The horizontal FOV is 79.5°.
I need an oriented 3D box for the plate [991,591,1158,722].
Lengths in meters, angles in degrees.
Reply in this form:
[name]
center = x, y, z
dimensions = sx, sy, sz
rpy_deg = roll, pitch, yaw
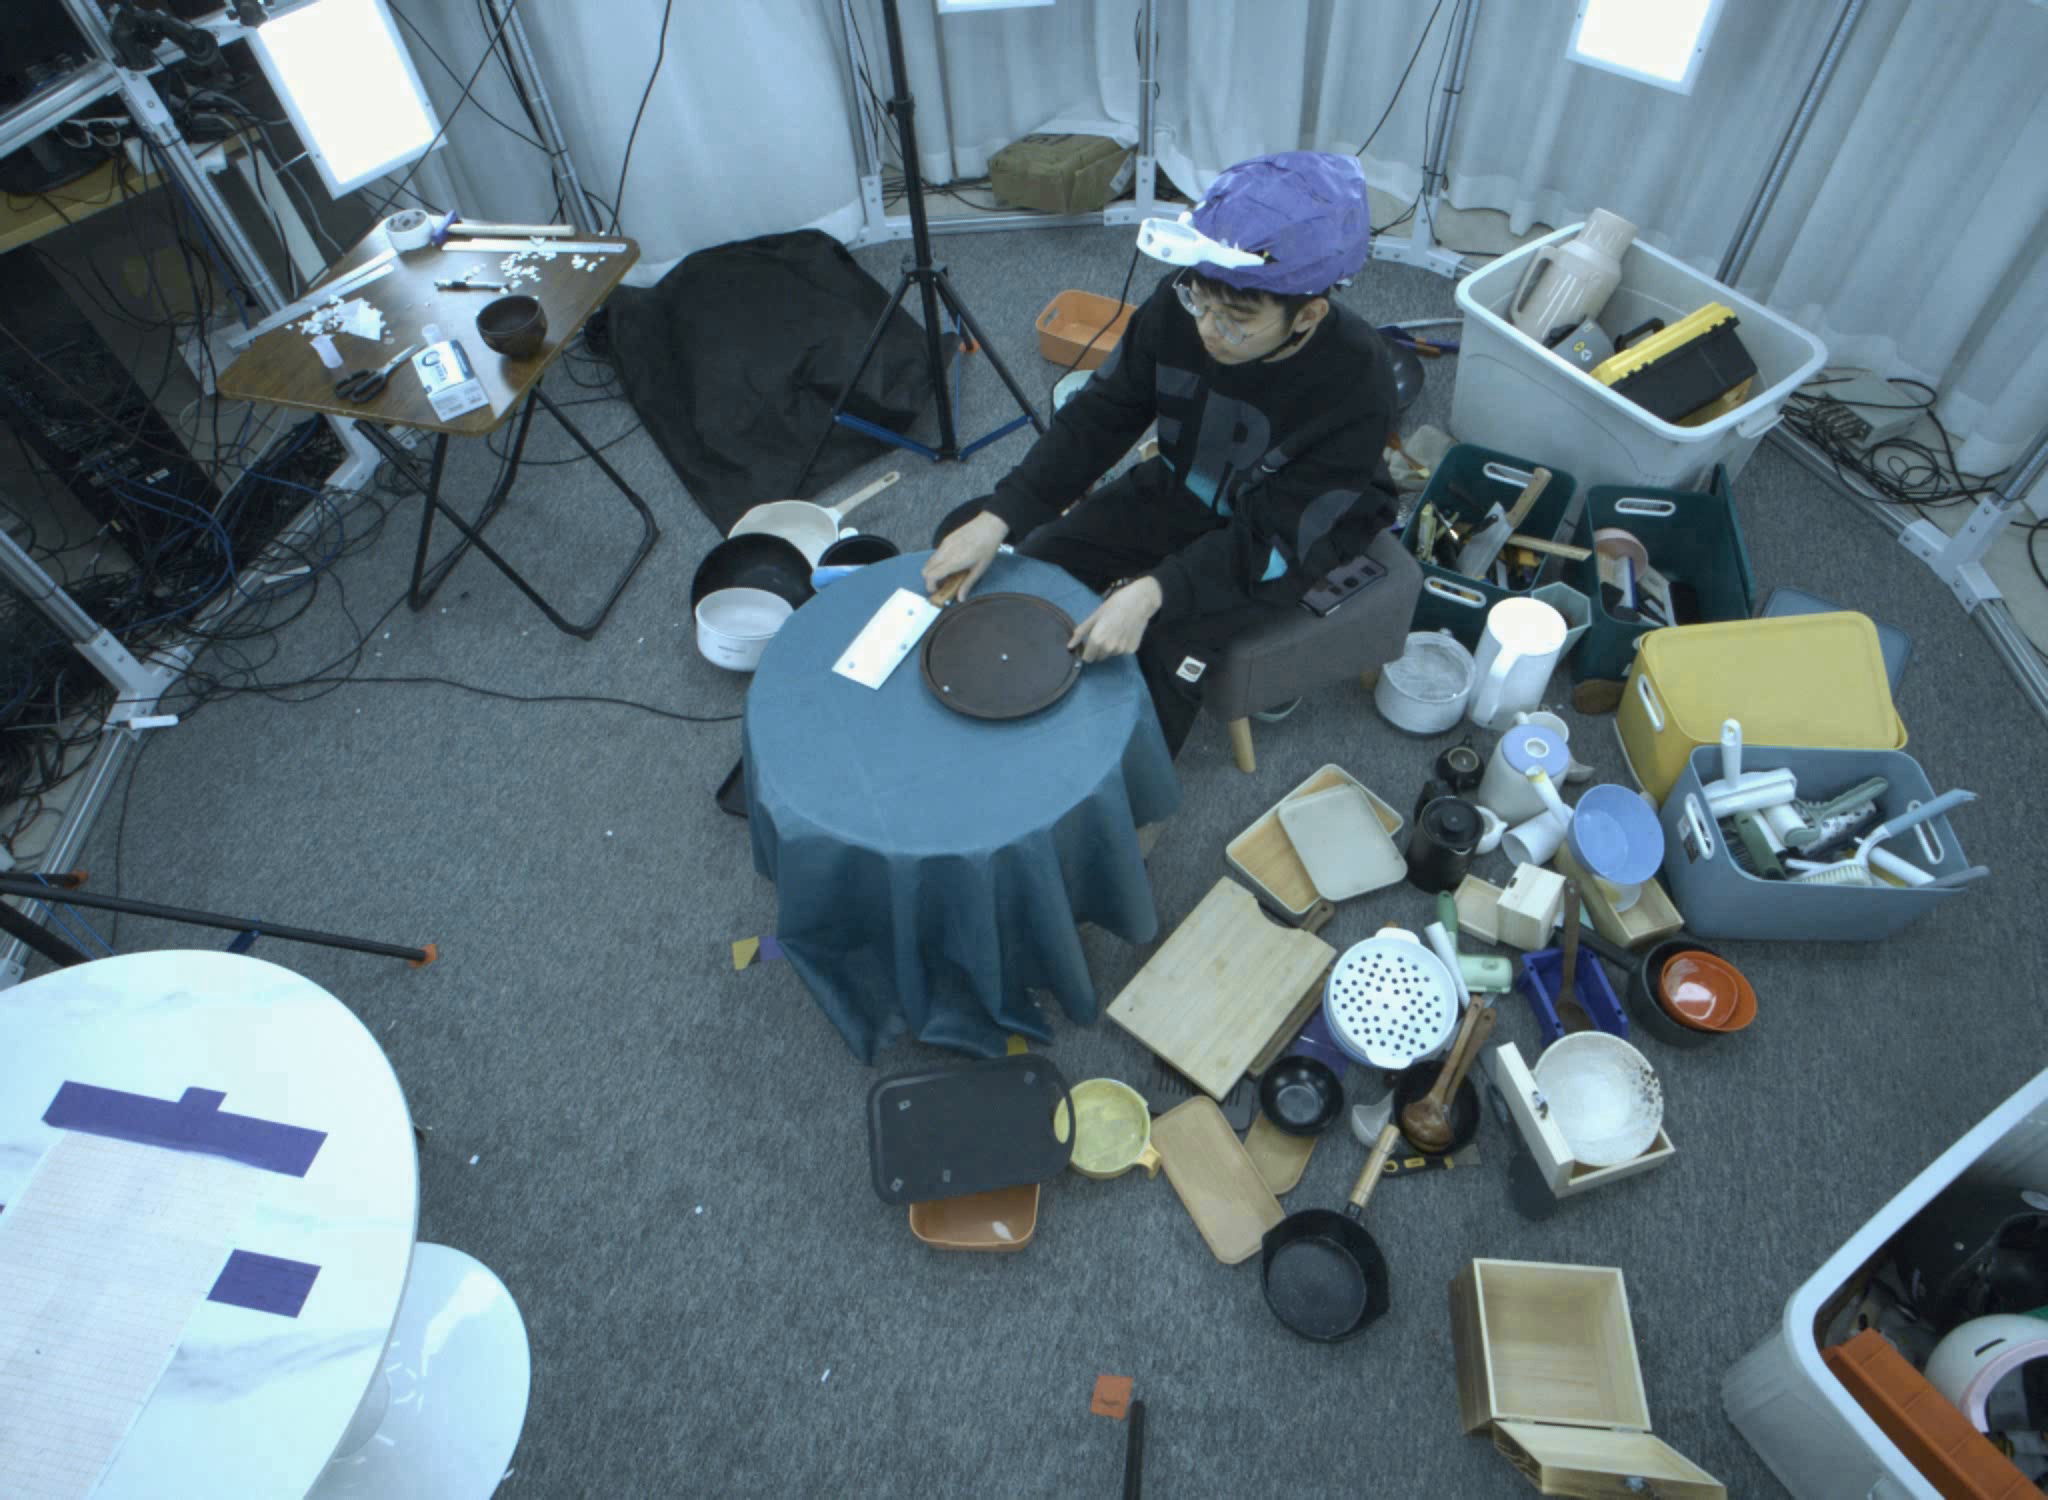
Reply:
[plate]
center = 0.076, -0.143, 1.870
dimensions = 0.255, 0.029, 0.252
rpy_deg = 0, 56, 1

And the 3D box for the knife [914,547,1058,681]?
[knife]
center = -0.064, -0.226, 1.940
dimensions = 0.091, 0.021, 0.307
rpy_deg = 28, 63, 23
